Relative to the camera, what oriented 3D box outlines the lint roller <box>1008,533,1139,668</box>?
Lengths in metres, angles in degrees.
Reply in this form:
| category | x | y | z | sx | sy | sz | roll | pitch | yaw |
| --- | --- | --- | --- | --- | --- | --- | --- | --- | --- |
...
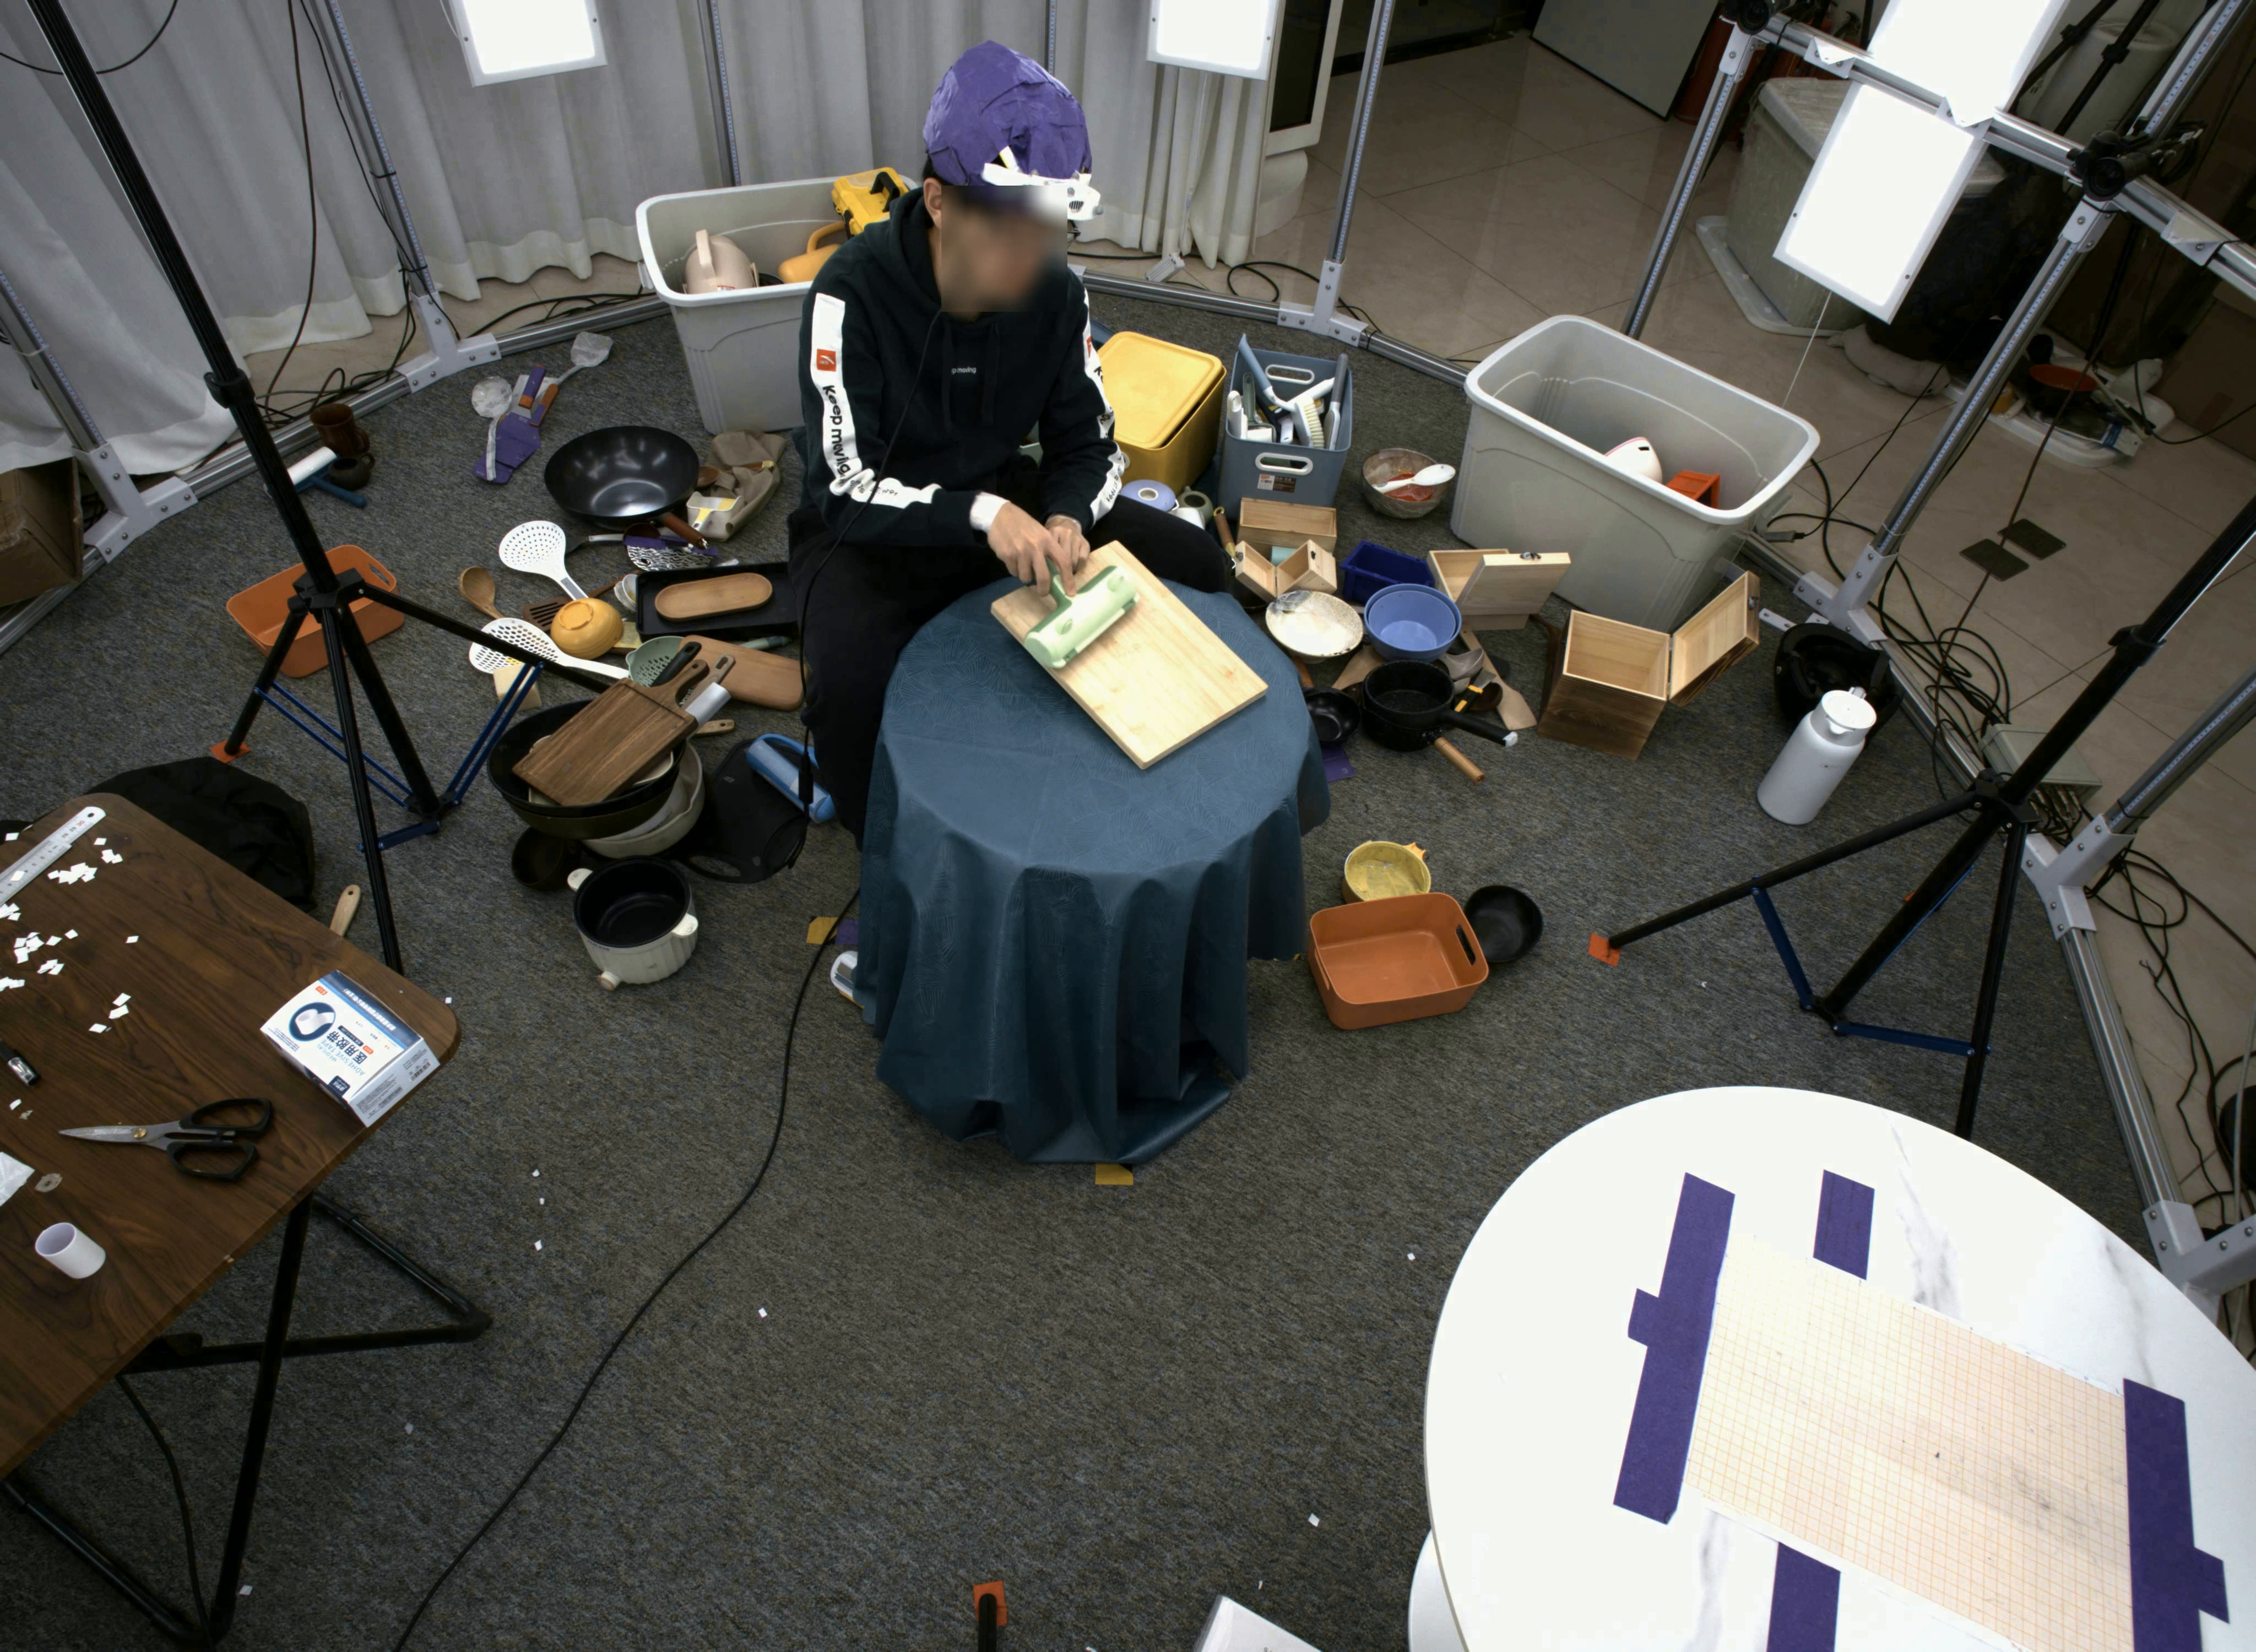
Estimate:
| category | x | y | z | sx | sy | sz | roll | pitch | yaw |
| --- | --- | --- | --- | --- | --- | --- | --- | --- | --- |
| lint roller | -0.094 | -0.345 | 1.808 | 0.201 | 0.082 | 0.182 | -44 | 102 | -32 |

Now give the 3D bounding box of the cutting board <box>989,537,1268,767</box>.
| category | x | y | z | sx | sy | sz | roll | pitch | yaw |
| --- | --- | --- | --- | --- | --- | --- | --- | --- | --- |
| cutting board | -0.001 | -0.258 | 1.849 | 0.252 | 0.023 | 0.353 | -32 | 66 | -27 |
